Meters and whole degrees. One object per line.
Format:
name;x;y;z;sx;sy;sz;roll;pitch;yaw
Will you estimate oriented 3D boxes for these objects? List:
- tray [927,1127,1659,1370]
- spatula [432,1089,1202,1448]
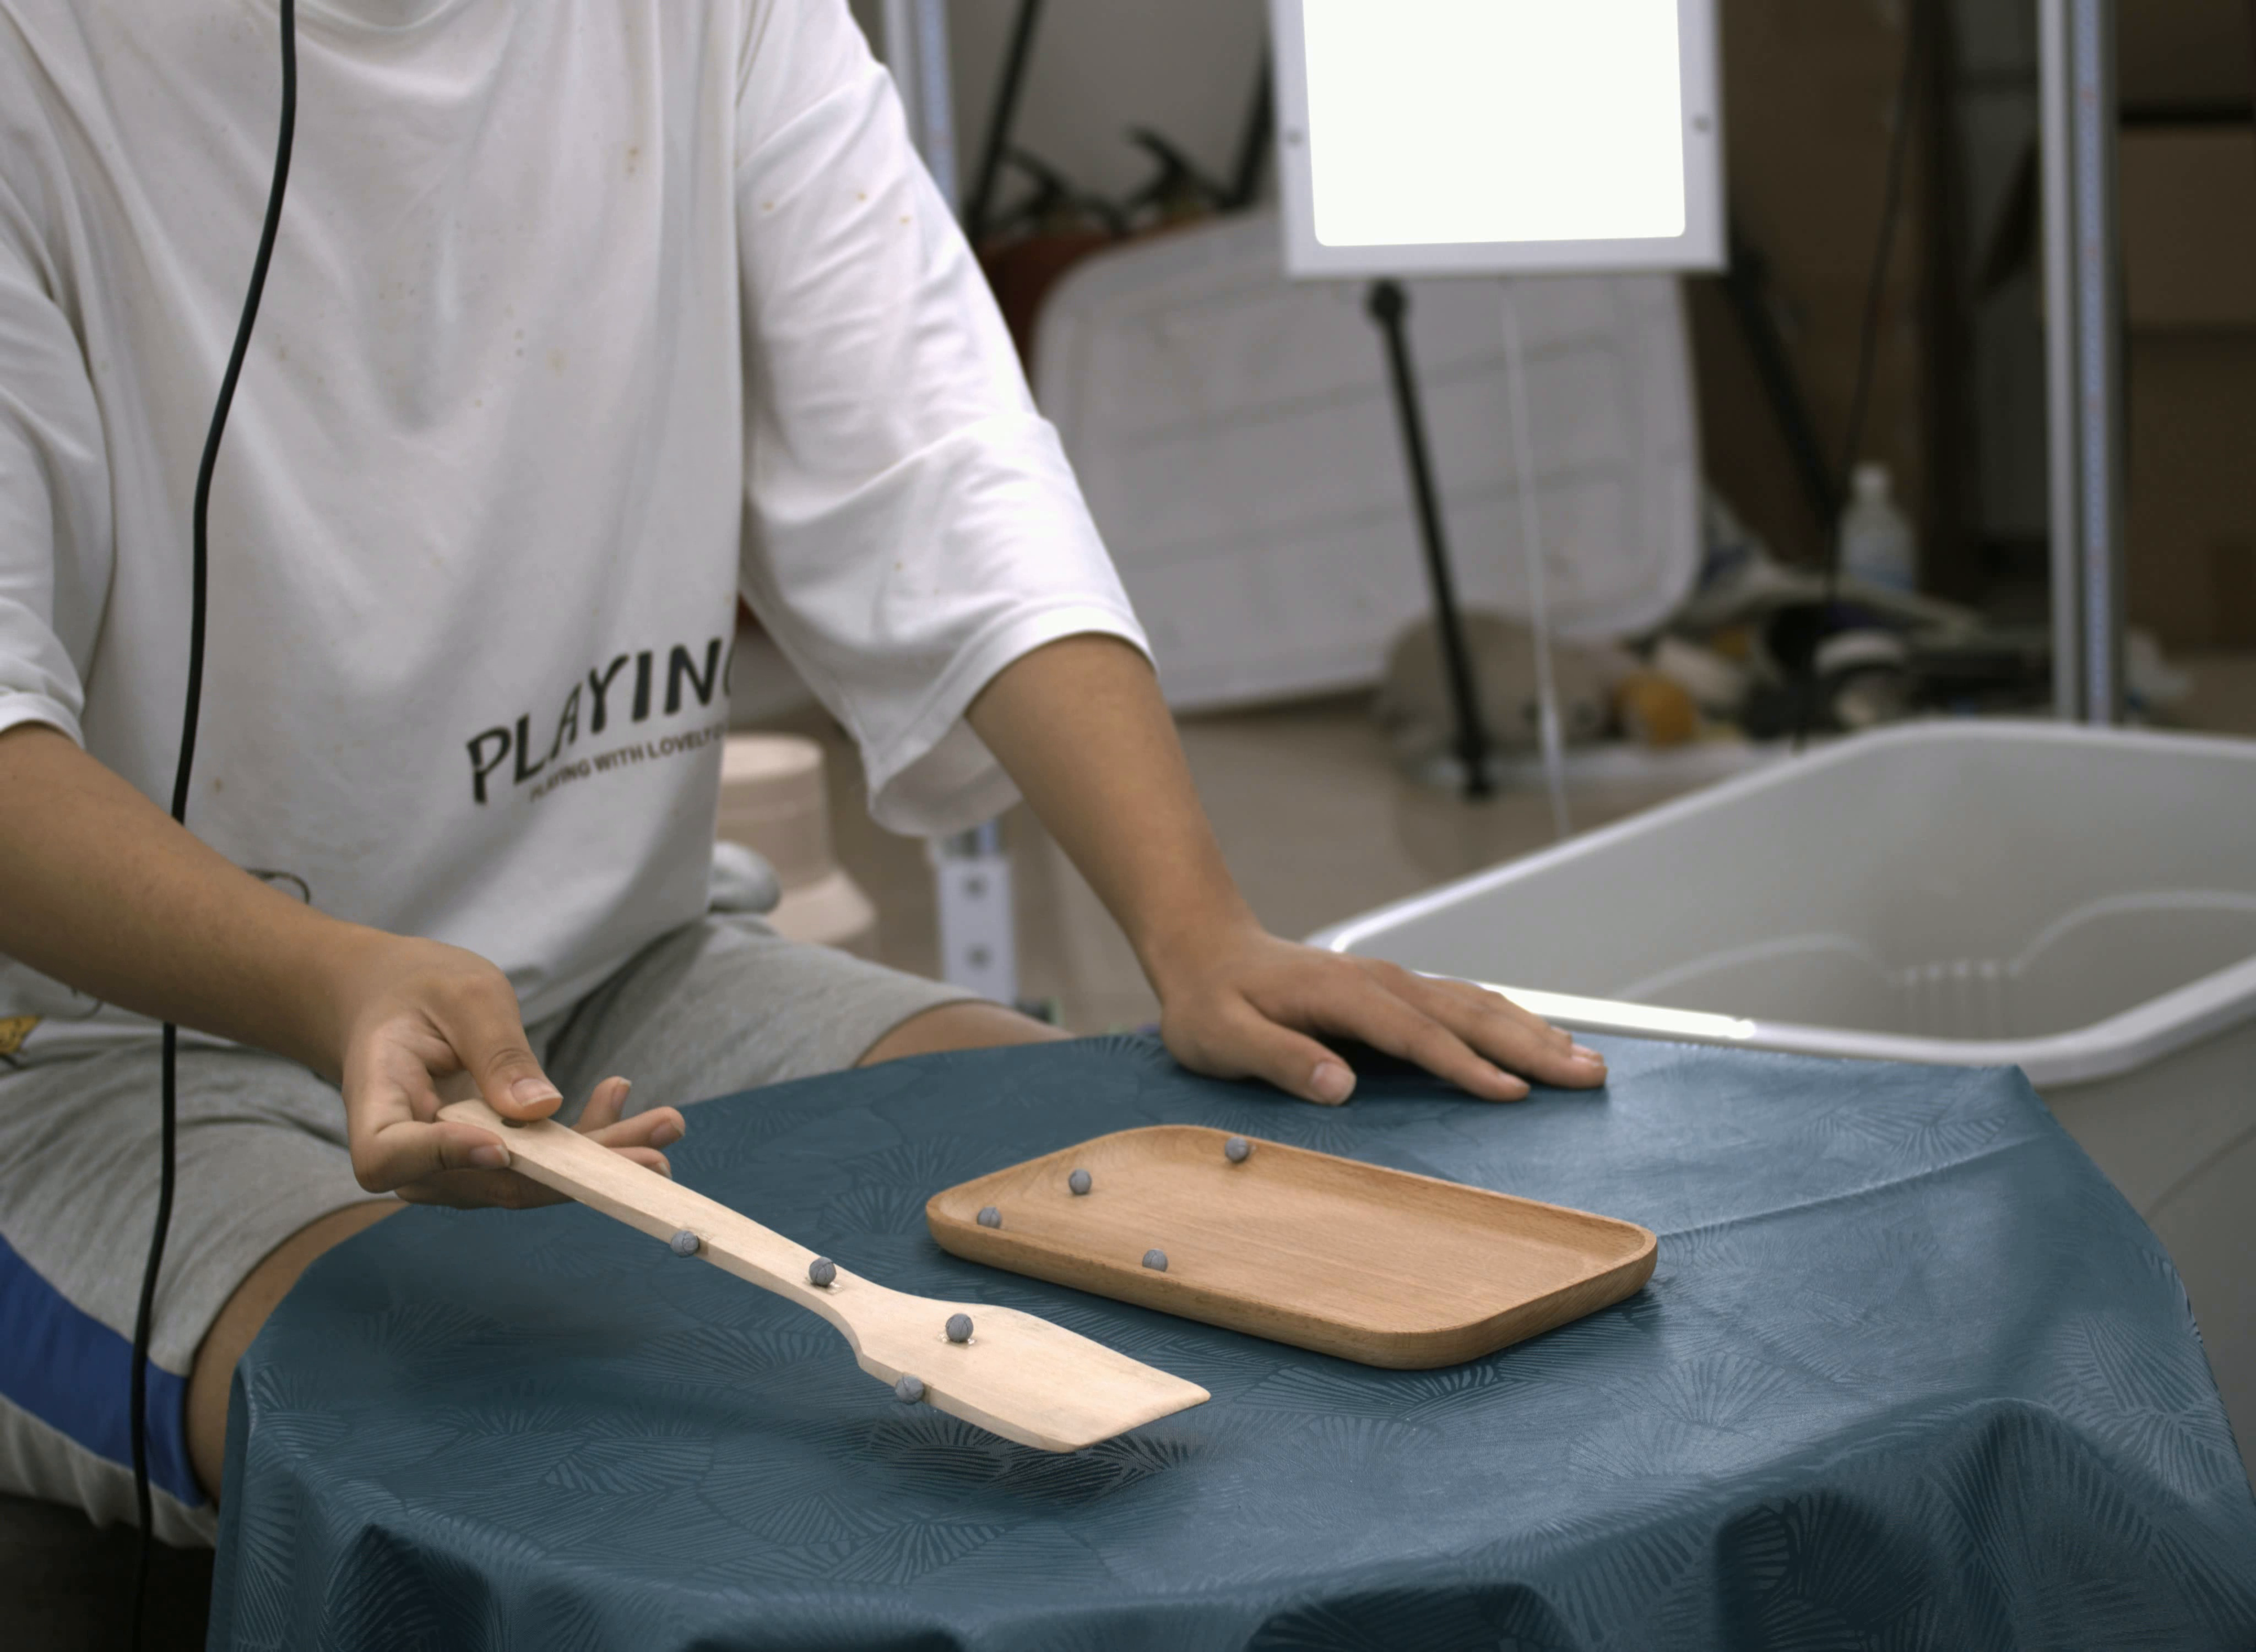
tray;0.052;0.136;1.804;0.127;0.023;0.256;-19;19;-37
spatula;-0.109;0.133;1.708;0.298;0.011;0.070;21;23;36
